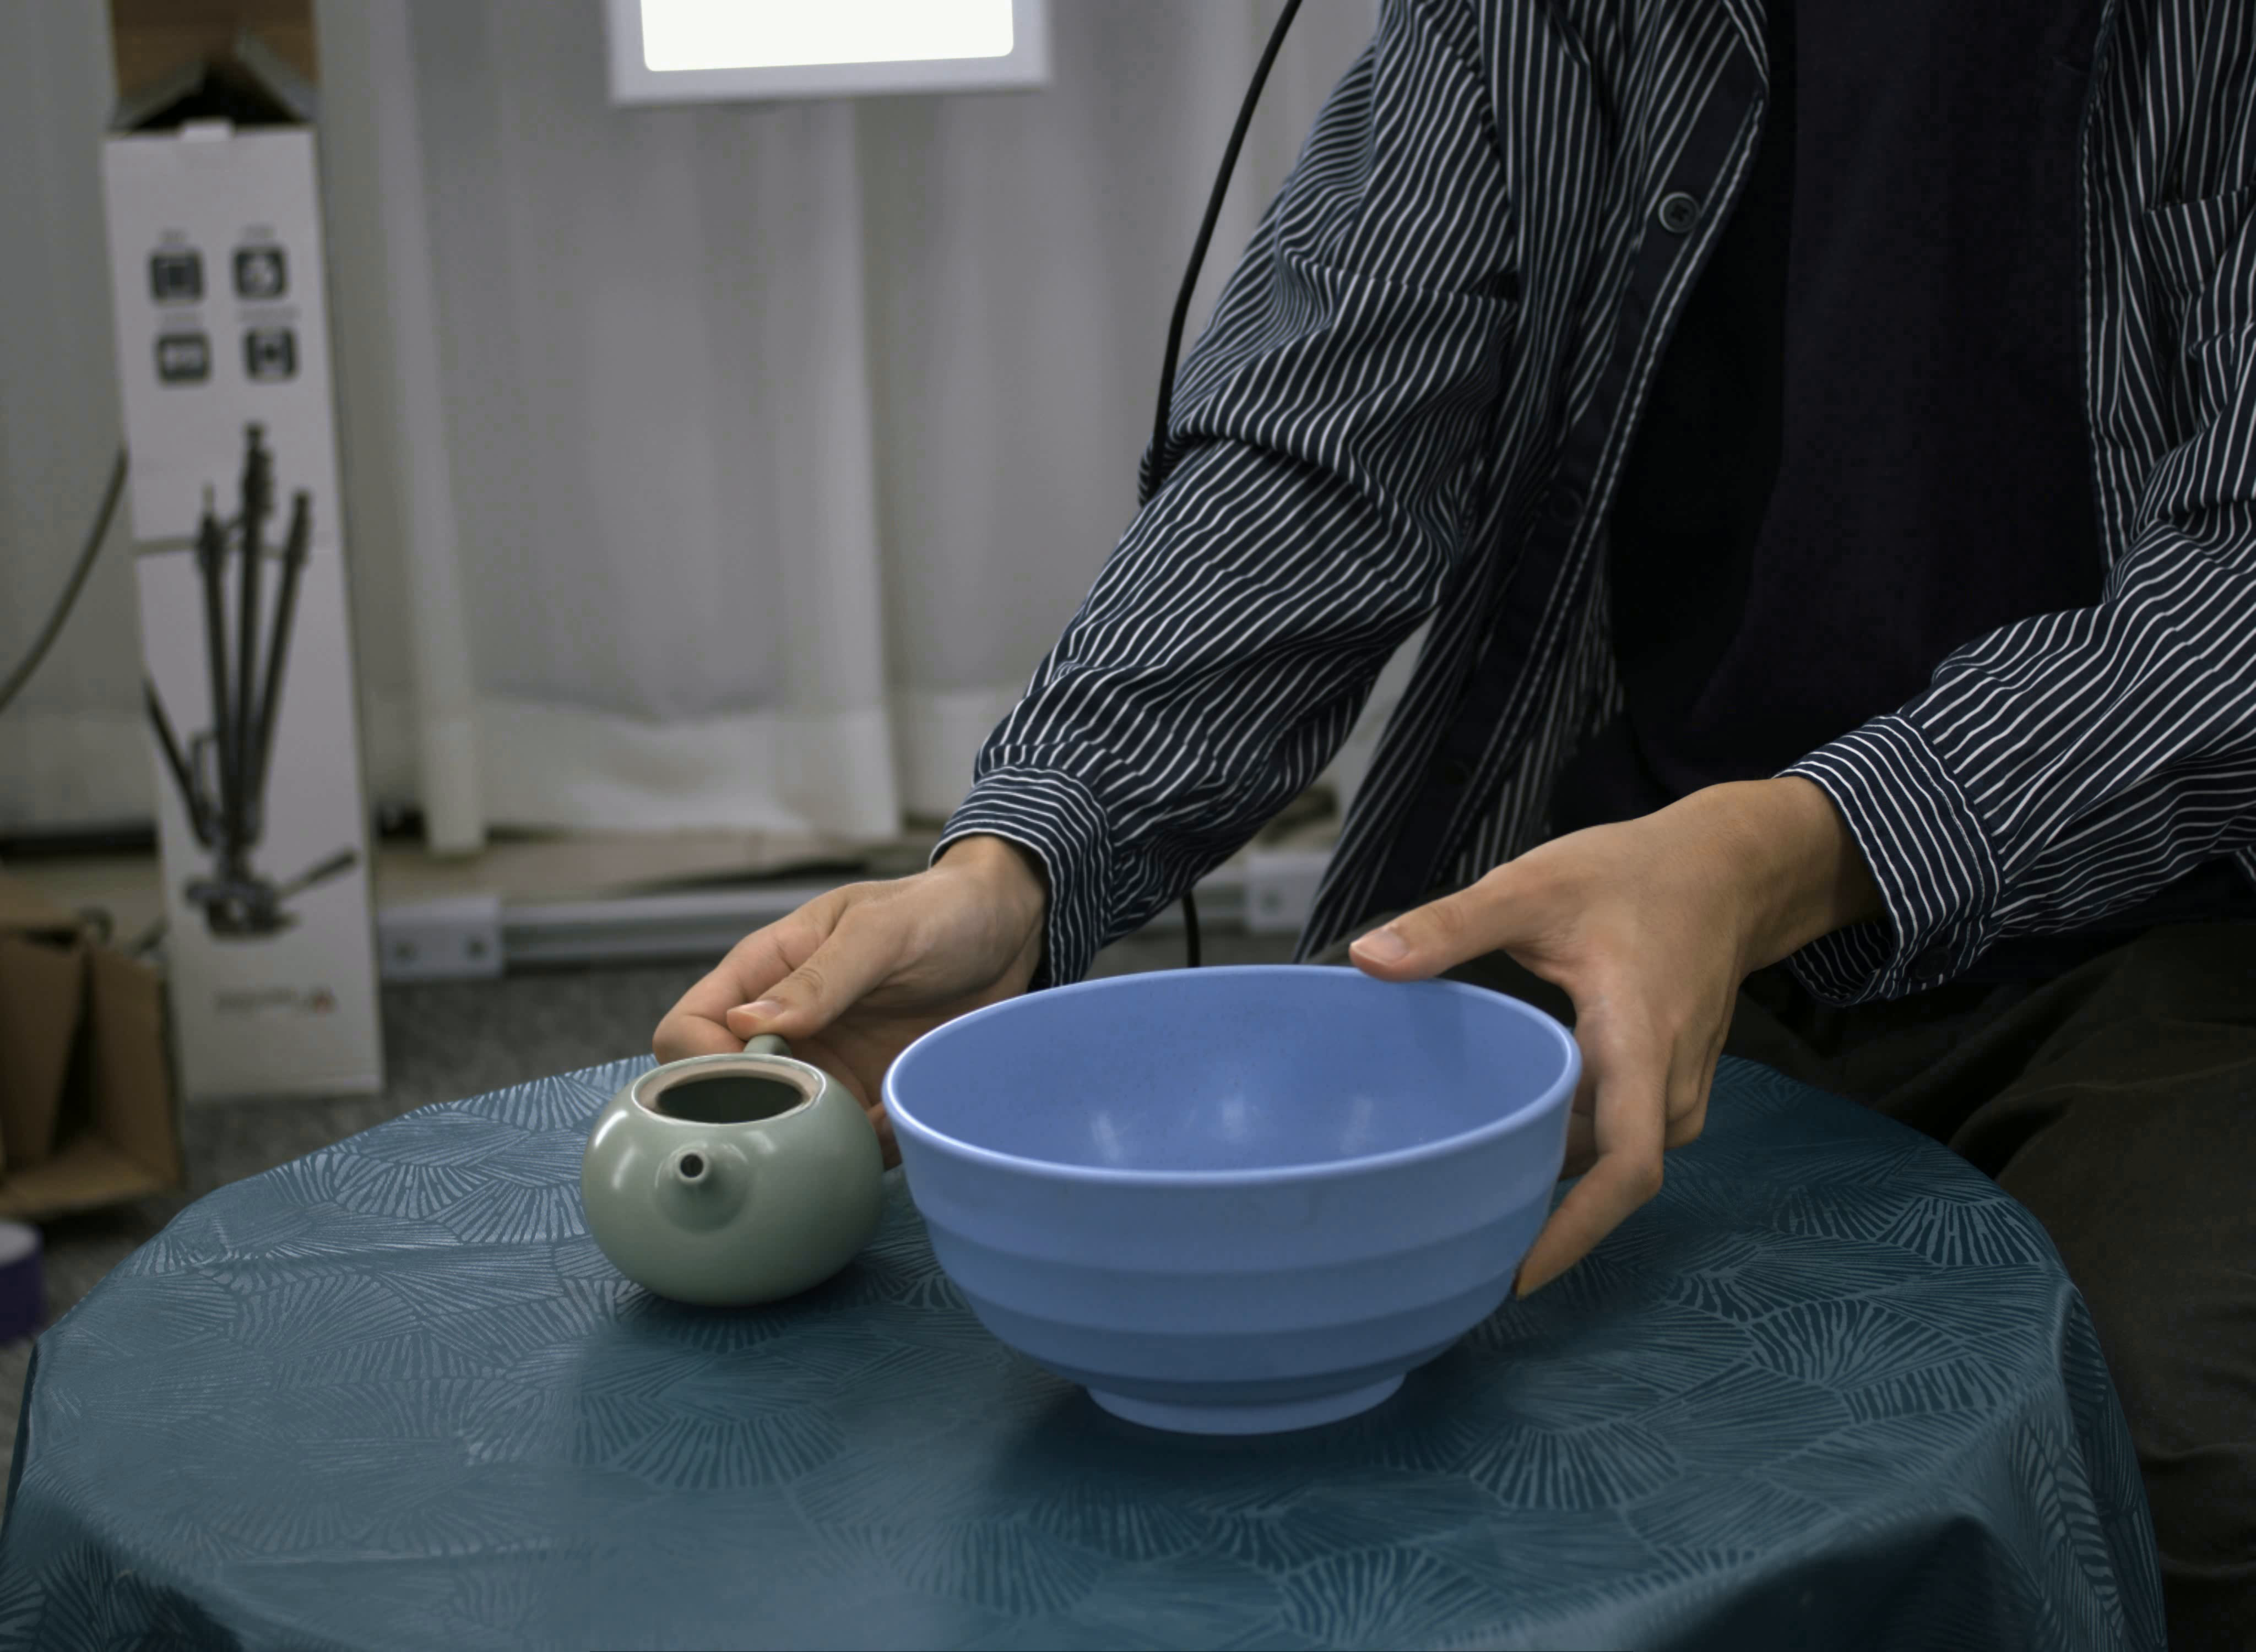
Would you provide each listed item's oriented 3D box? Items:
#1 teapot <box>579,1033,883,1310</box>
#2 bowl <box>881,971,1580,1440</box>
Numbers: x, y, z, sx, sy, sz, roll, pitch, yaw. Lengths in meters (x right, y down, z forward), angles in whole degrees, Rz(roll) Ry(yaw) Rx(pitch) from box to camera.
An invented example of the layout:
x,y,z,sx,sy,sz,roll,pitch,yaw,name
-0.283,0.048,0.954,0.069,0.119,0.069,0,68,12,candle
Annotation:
x,y,z,sx,sy,sz,roll,pitch,yaw,name
-0.117,0.105,1.655,0.091,0.060,0.129,0,18,14,teapot
0.031,0.113,1.540,0.196,0.095,0.198,-4,14,1,bowl
